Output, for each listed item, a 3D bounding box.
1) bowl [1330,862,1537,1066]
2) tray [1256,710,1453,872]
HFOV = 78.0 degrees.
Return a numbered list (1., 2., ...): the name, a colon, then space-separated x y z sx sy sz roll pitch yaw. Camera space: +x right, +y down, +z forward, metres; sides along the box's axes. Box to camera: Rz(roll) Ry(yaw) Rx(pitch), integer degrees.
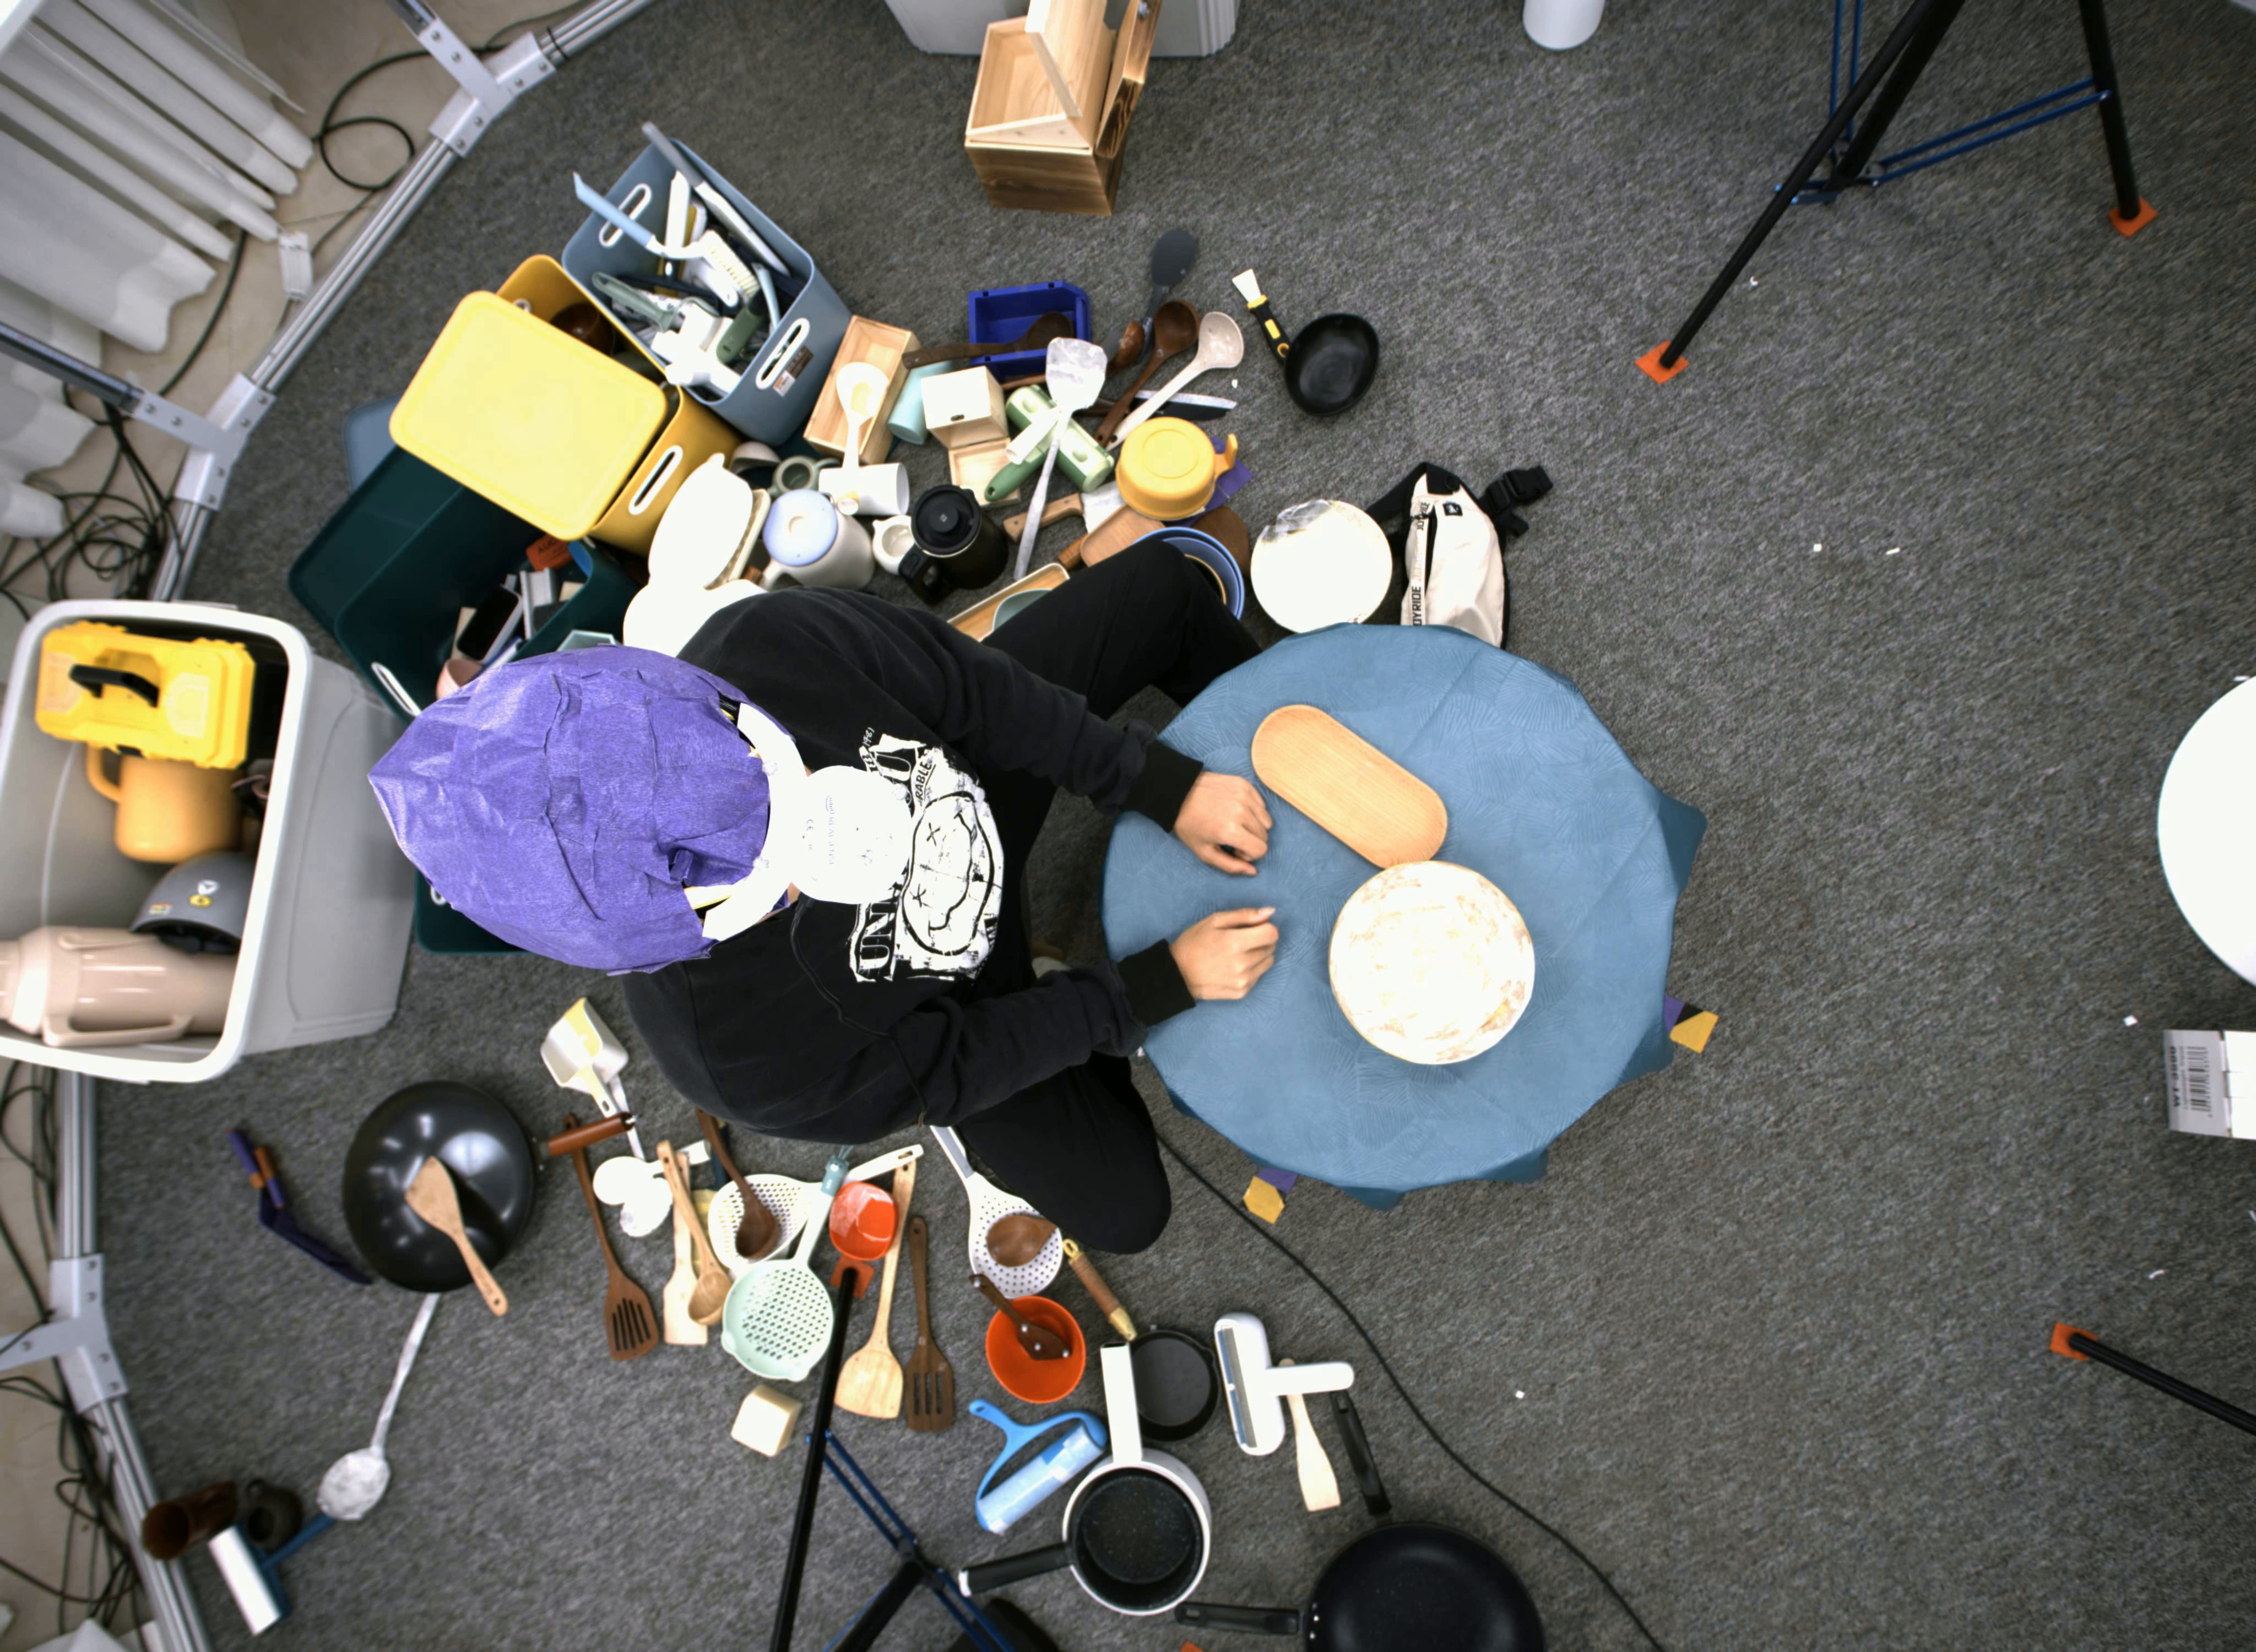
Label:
1. bowl: 0.307 0.135 1.407 0.215 0.094 0.214 -1 86 11
2. tray: 0.240 -0.038 1.470 0.230 0.020 0.102 35 95 9
